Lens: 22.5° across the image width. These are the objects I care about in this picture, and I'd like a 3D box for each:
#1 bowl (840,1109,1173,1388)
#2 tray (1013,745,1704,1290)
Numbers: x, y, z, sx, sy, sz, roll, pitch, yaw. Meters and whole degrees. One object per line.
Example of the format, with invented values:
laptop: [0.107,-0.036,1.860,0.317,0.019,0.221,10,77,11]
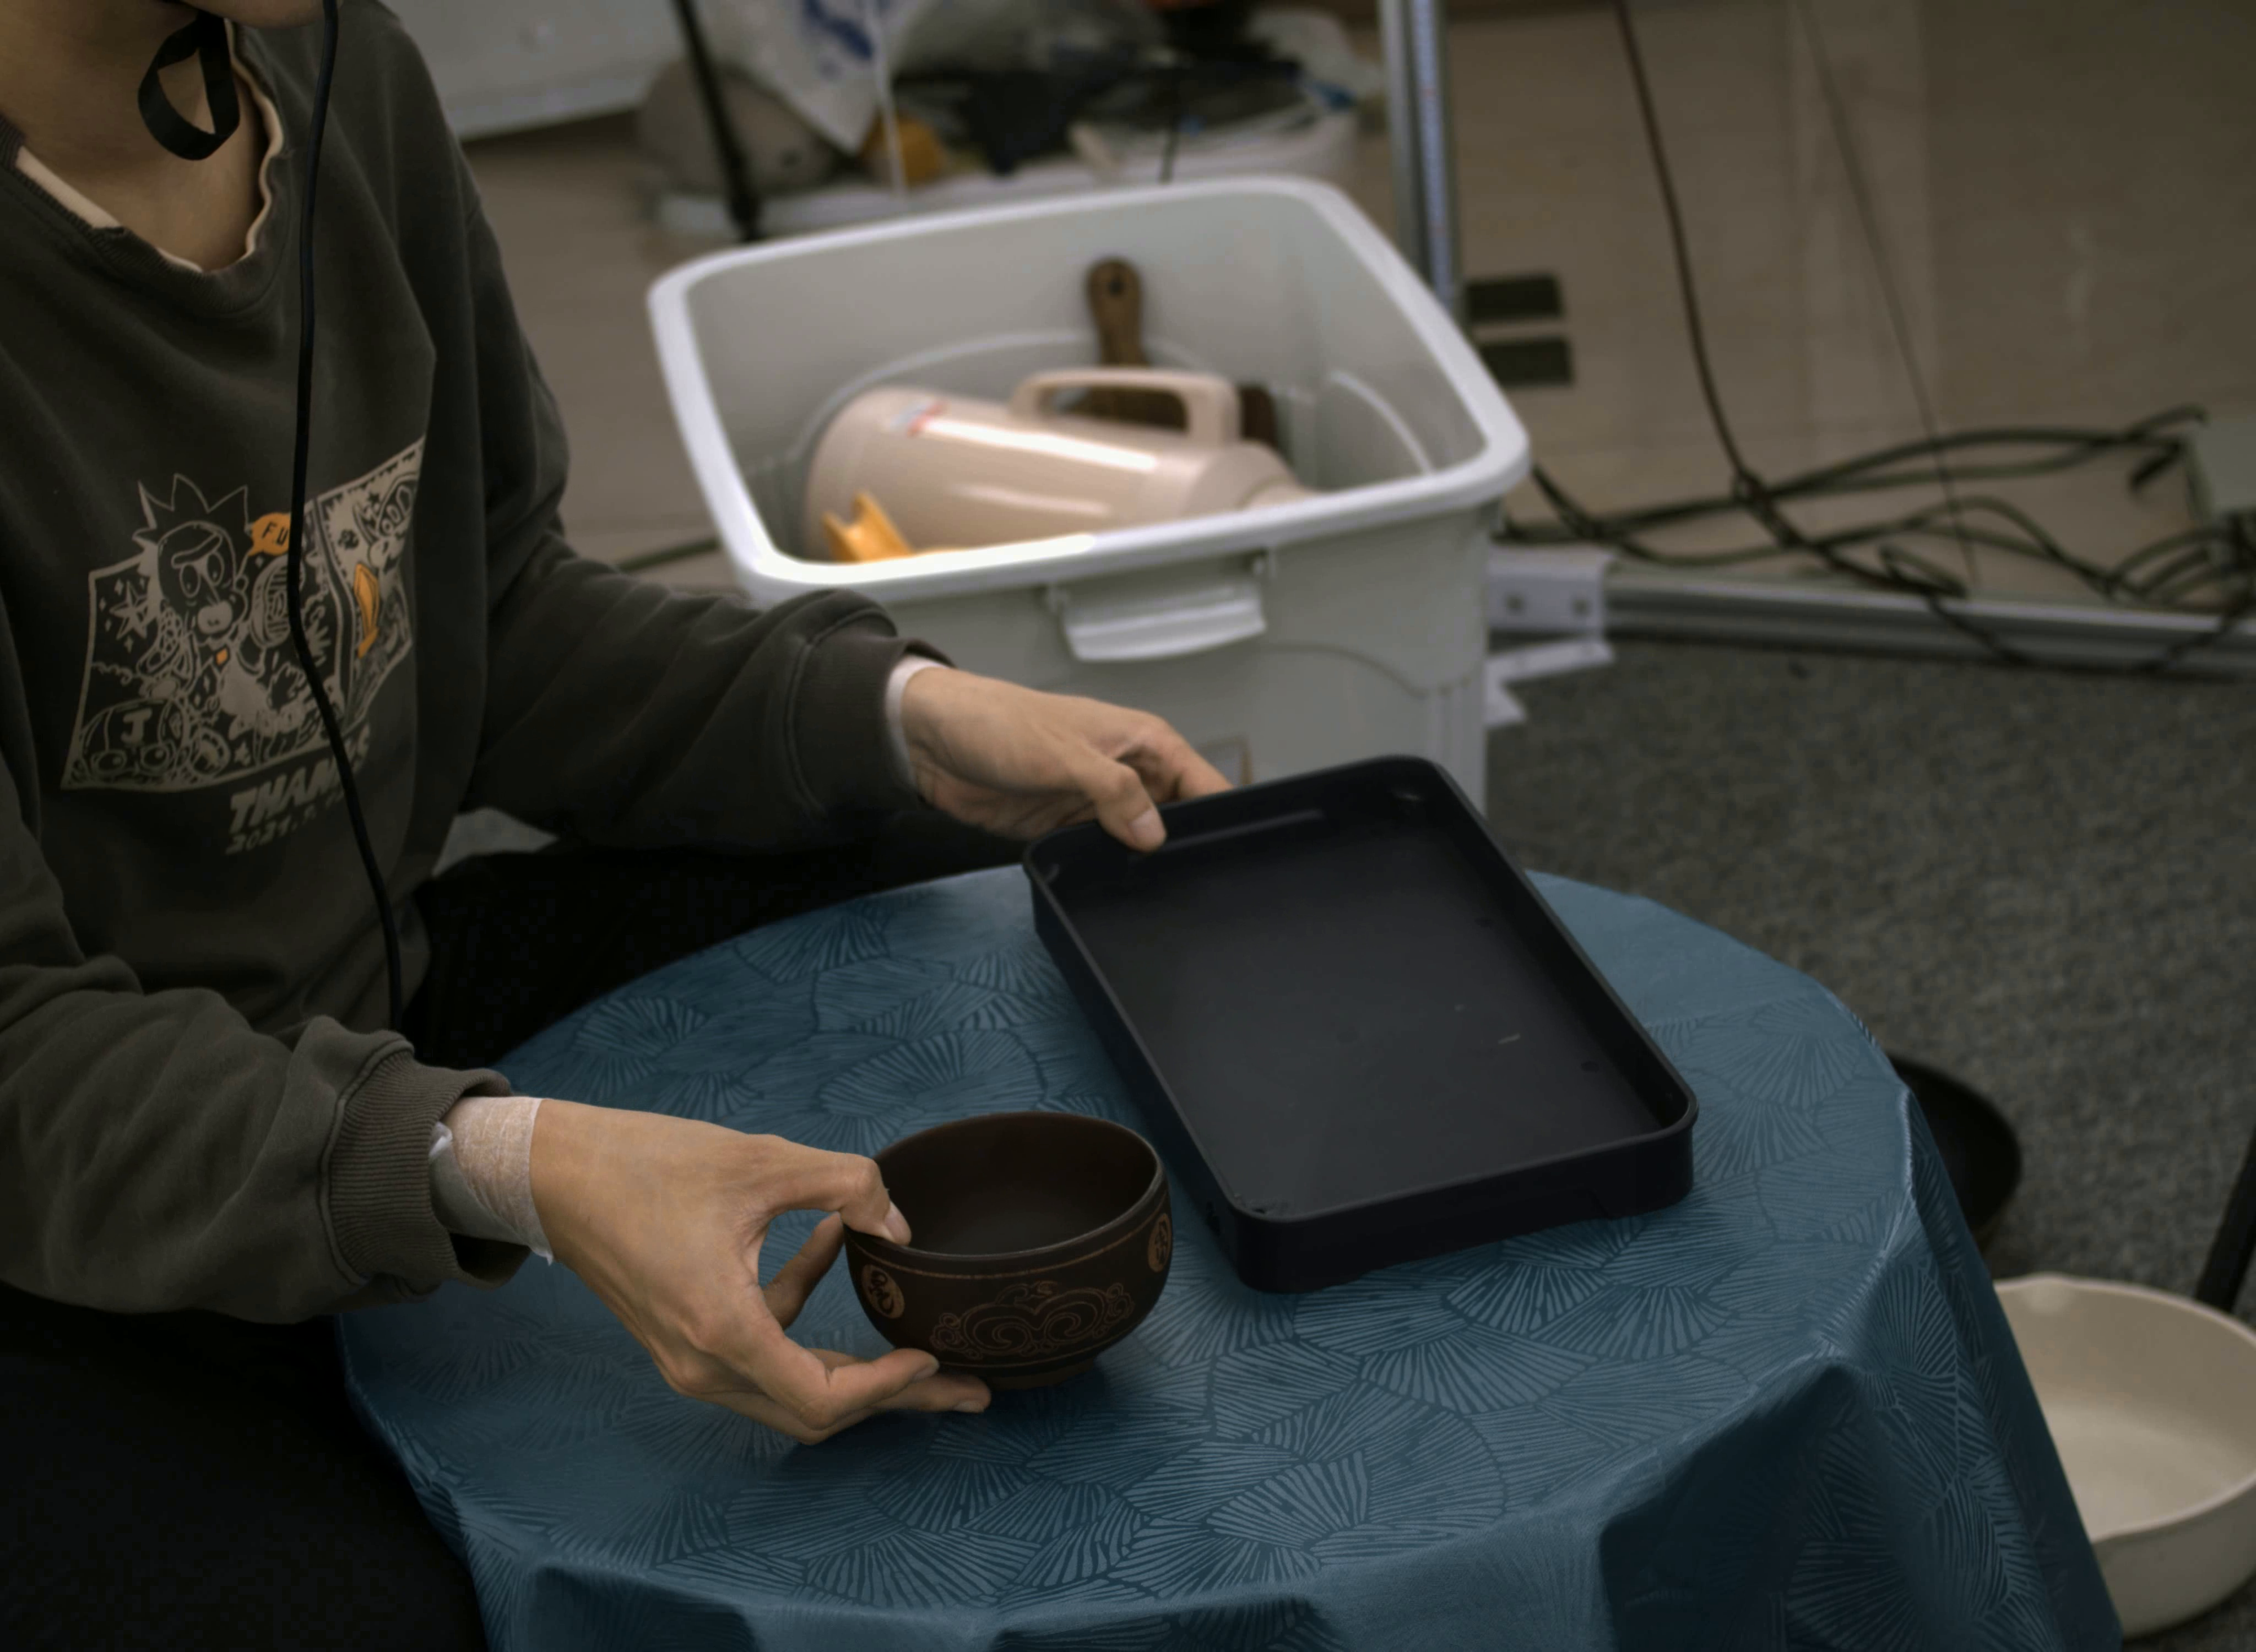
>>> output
bowl: [-0.041,0.157,2.020,0.118,0.071,0.116,-7,23,3]
tray: [0.084,0.069,2.204,0.184,0.038,0.313,-14,31,-13]
